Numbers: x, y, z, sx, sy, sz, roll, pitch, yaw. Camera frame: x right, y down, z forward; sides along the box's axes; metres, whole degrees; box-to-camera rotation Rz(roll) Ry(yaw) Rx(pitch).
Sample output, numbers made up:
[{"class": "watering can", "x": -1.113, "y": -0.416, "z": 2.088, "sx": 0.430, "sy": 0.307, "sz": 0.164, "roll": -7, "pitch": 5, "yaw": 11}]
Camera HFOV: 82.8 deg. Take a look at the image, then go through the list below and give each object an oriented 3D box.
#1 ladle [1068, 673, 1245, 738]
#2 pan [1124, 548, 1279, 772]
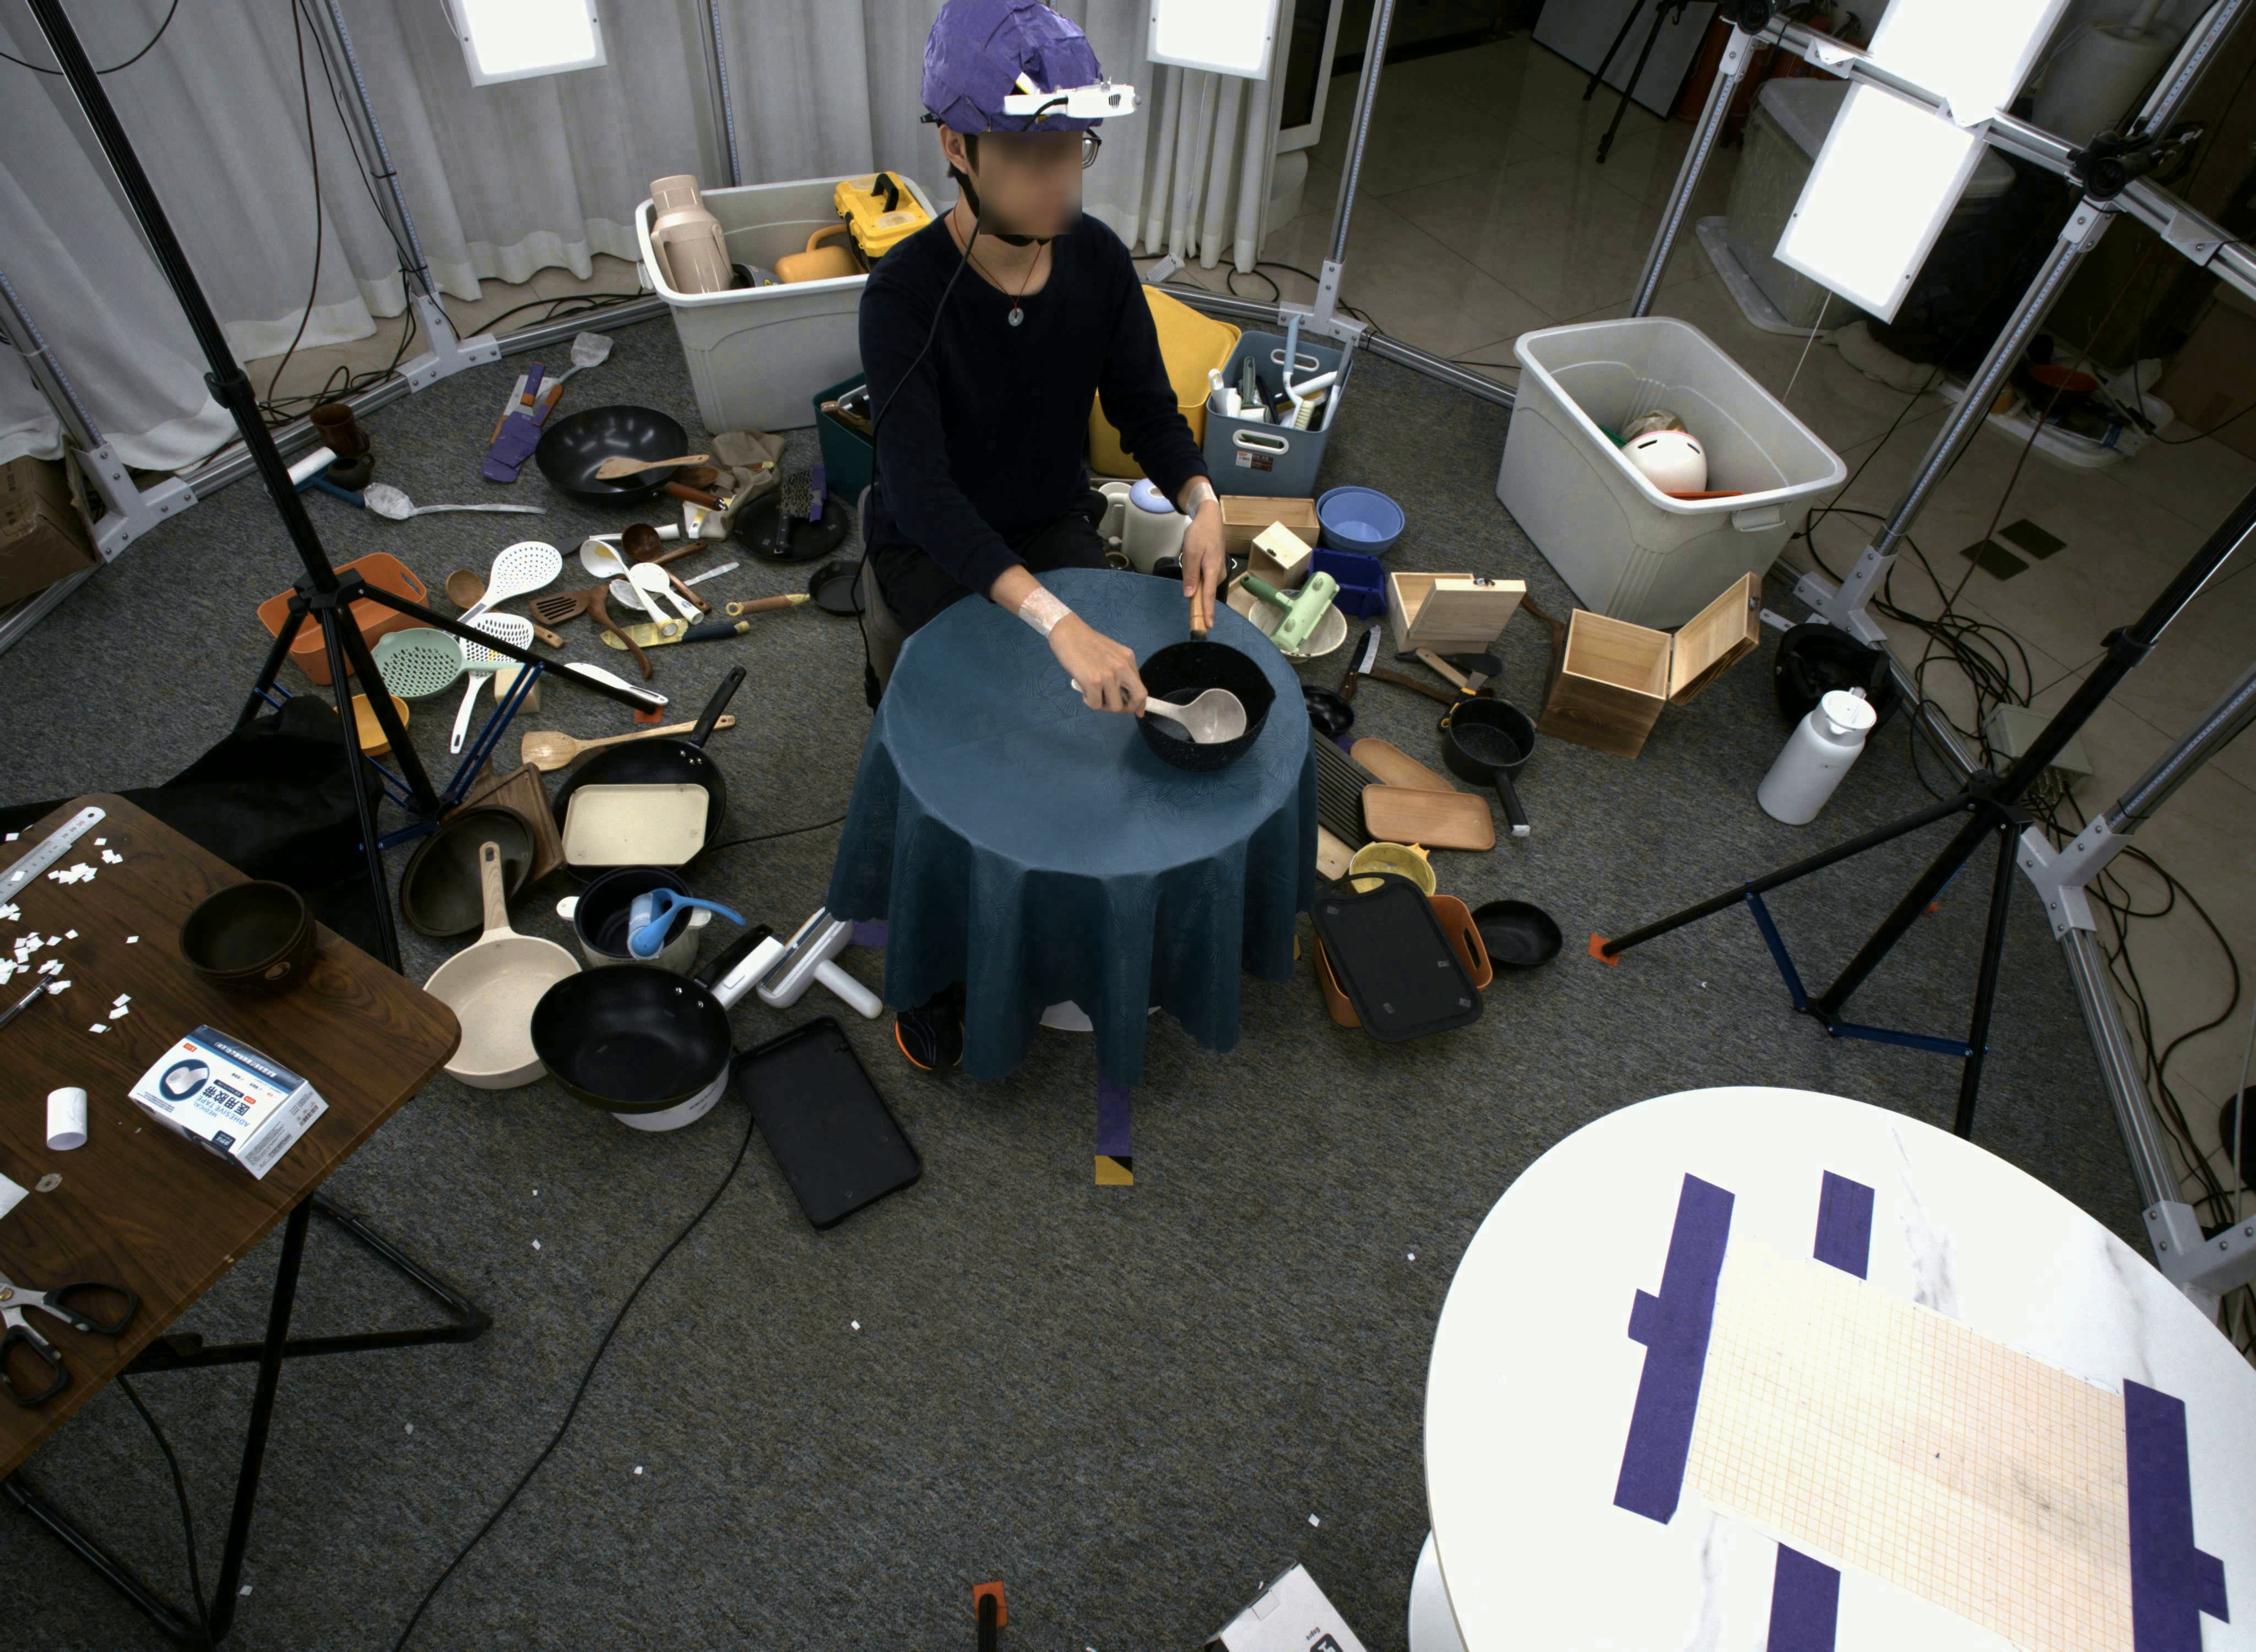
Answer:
[{"class": "ladle", "x": 0.044, "y": -0.162, "z": 1.676, "sx": 0.272, "sy": 0.089, "sz": 0.070, "roll": 13, "pitch": -4, "yaw": -44}, {"class": "pan", "x": 0.097, "y": -0.231, "z": 1.790, "sx": 0.207, "sy": 0.106, "sz": 0.351, "roll": 0, "pitch": 55, "yaw": -1}]
